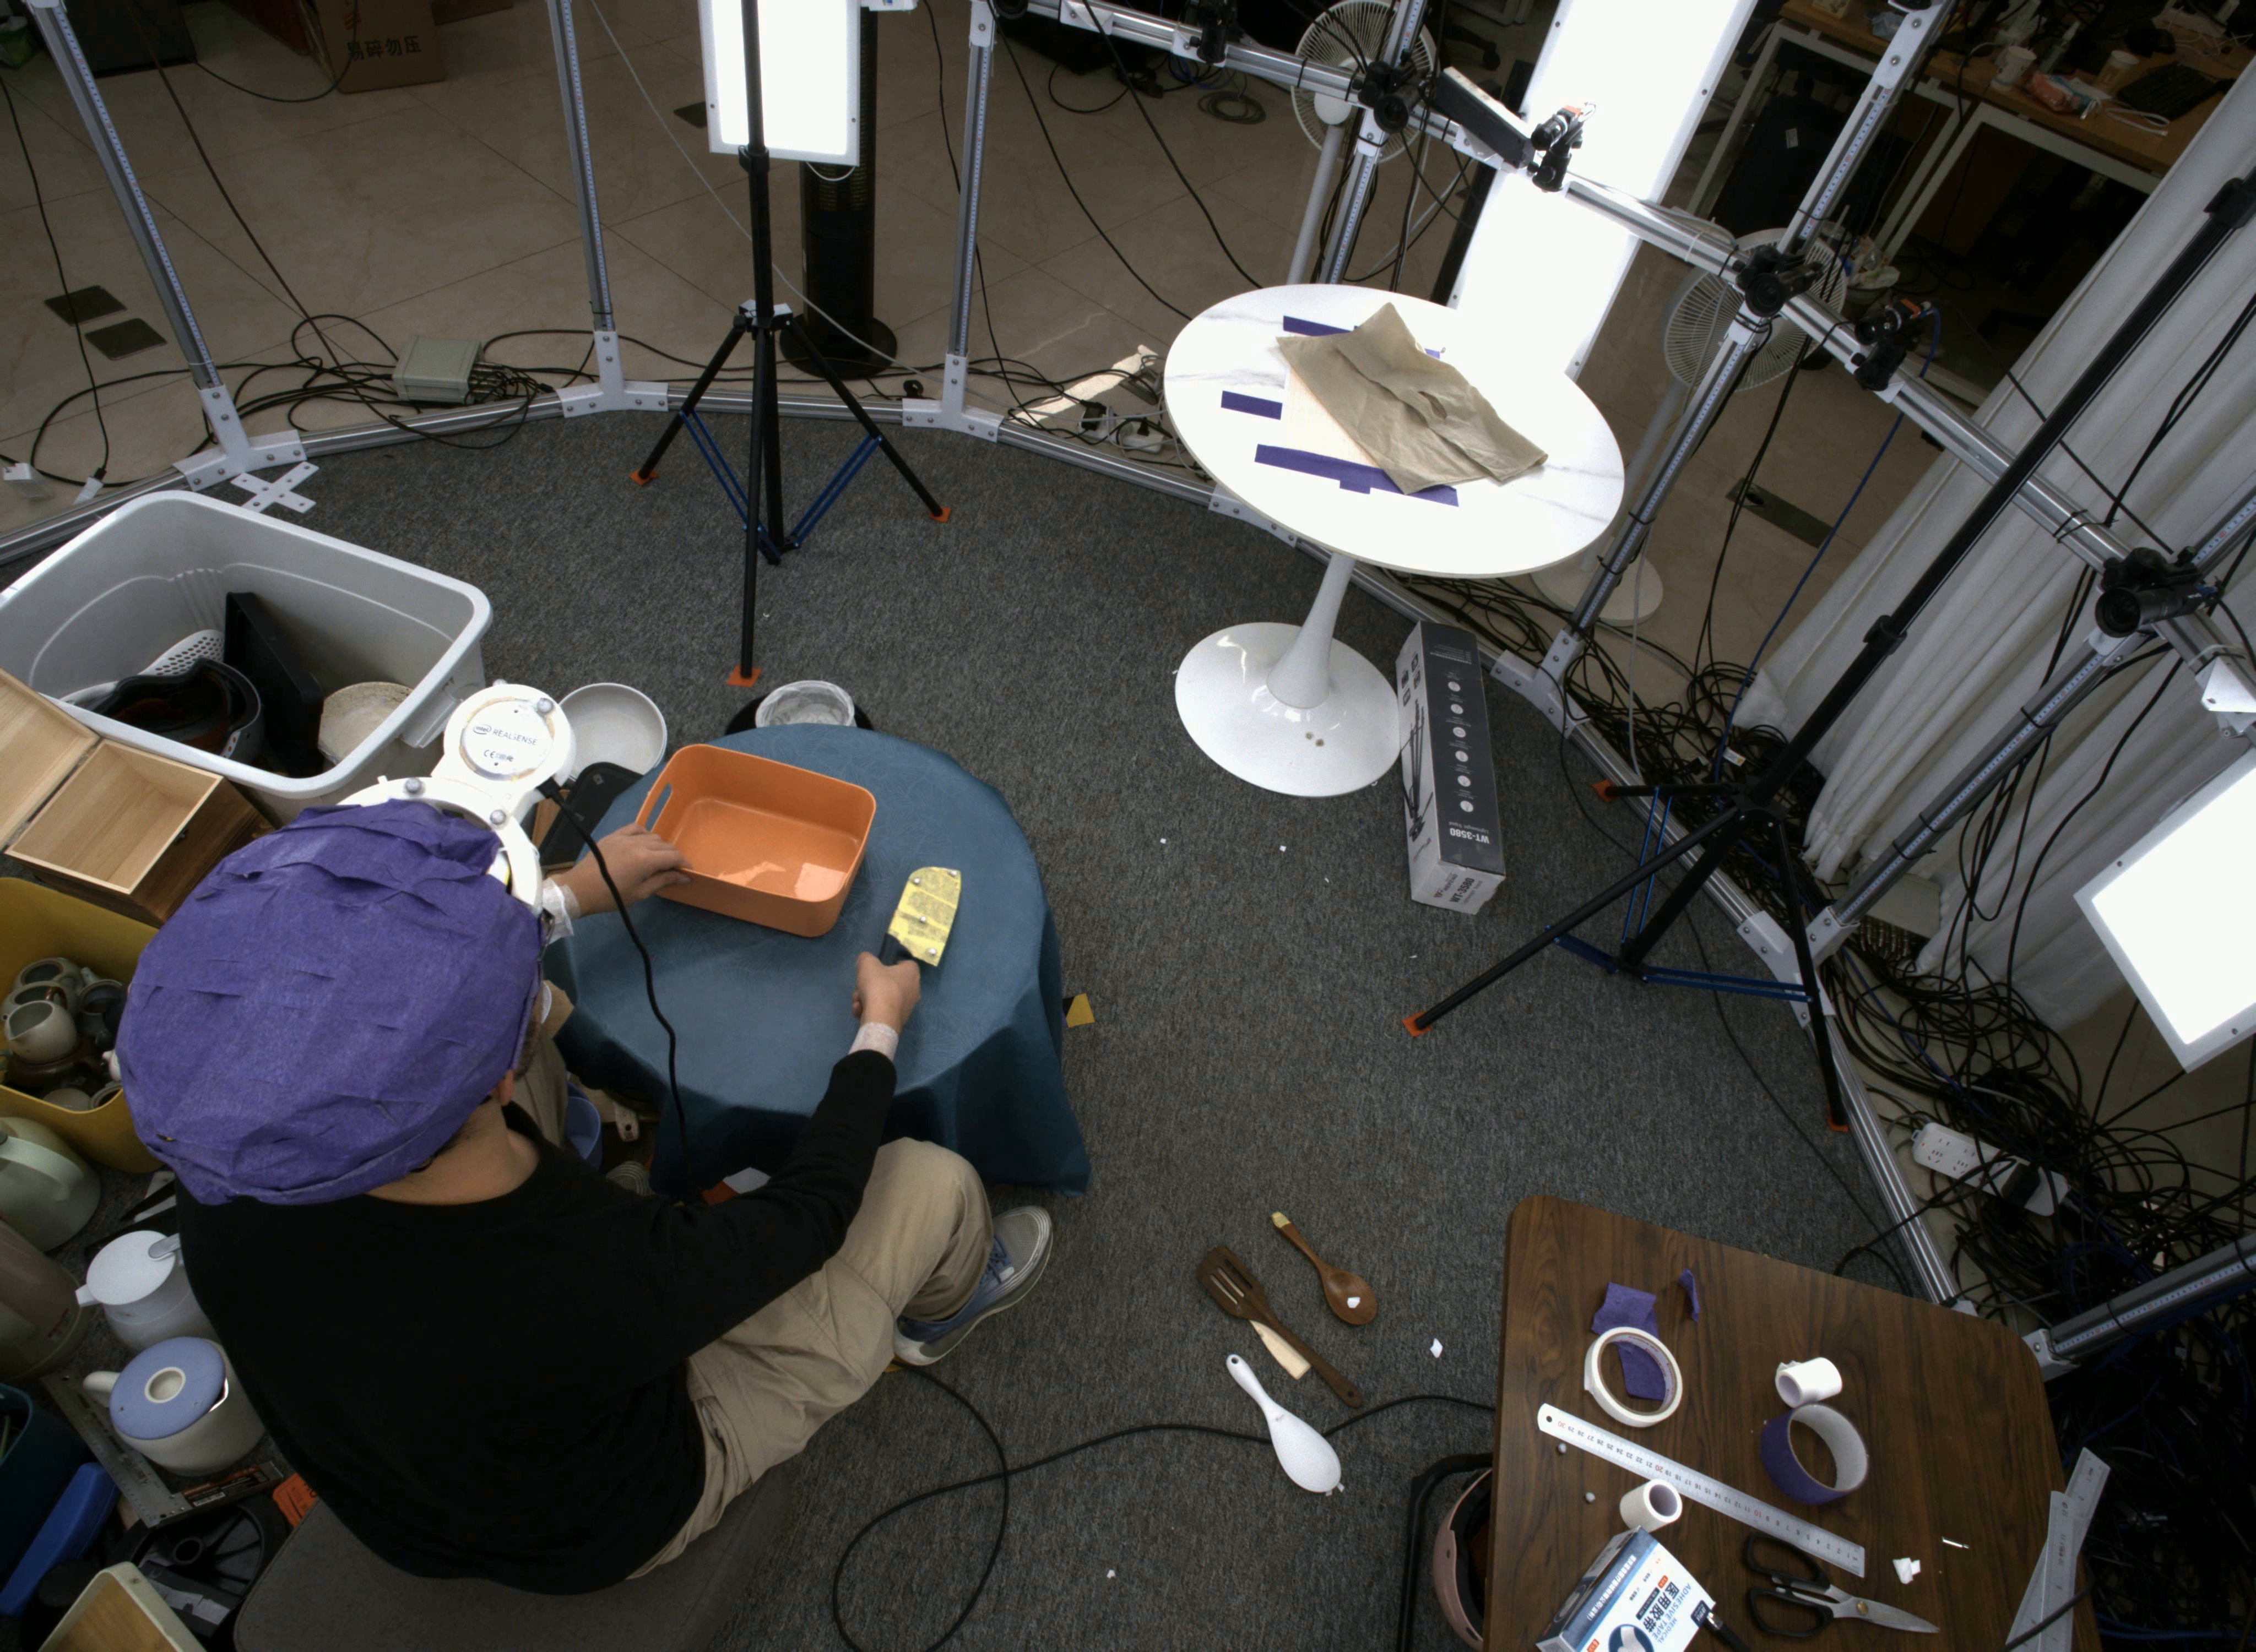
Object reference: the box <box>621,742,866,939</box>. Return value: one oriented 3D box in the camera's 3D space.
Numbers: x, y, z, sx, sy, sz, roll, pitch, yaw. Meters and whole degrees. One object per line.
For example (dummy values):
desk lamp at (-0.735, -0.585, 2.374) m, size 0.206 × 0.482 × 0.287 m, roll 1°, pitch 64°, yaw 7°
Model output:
box at (-0.477, 0.022, 1.621) m, size 0.271 × 0.104 × 0.196 m, roll 15°, pitch 51°, yaw -3°

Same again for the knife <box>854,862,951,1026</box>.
knife at (-0.276, 0.138, 1.610) m, size 0.081 × 0.027 × 0.285 m, roll 27°, pitch 40°, yaw -9°
